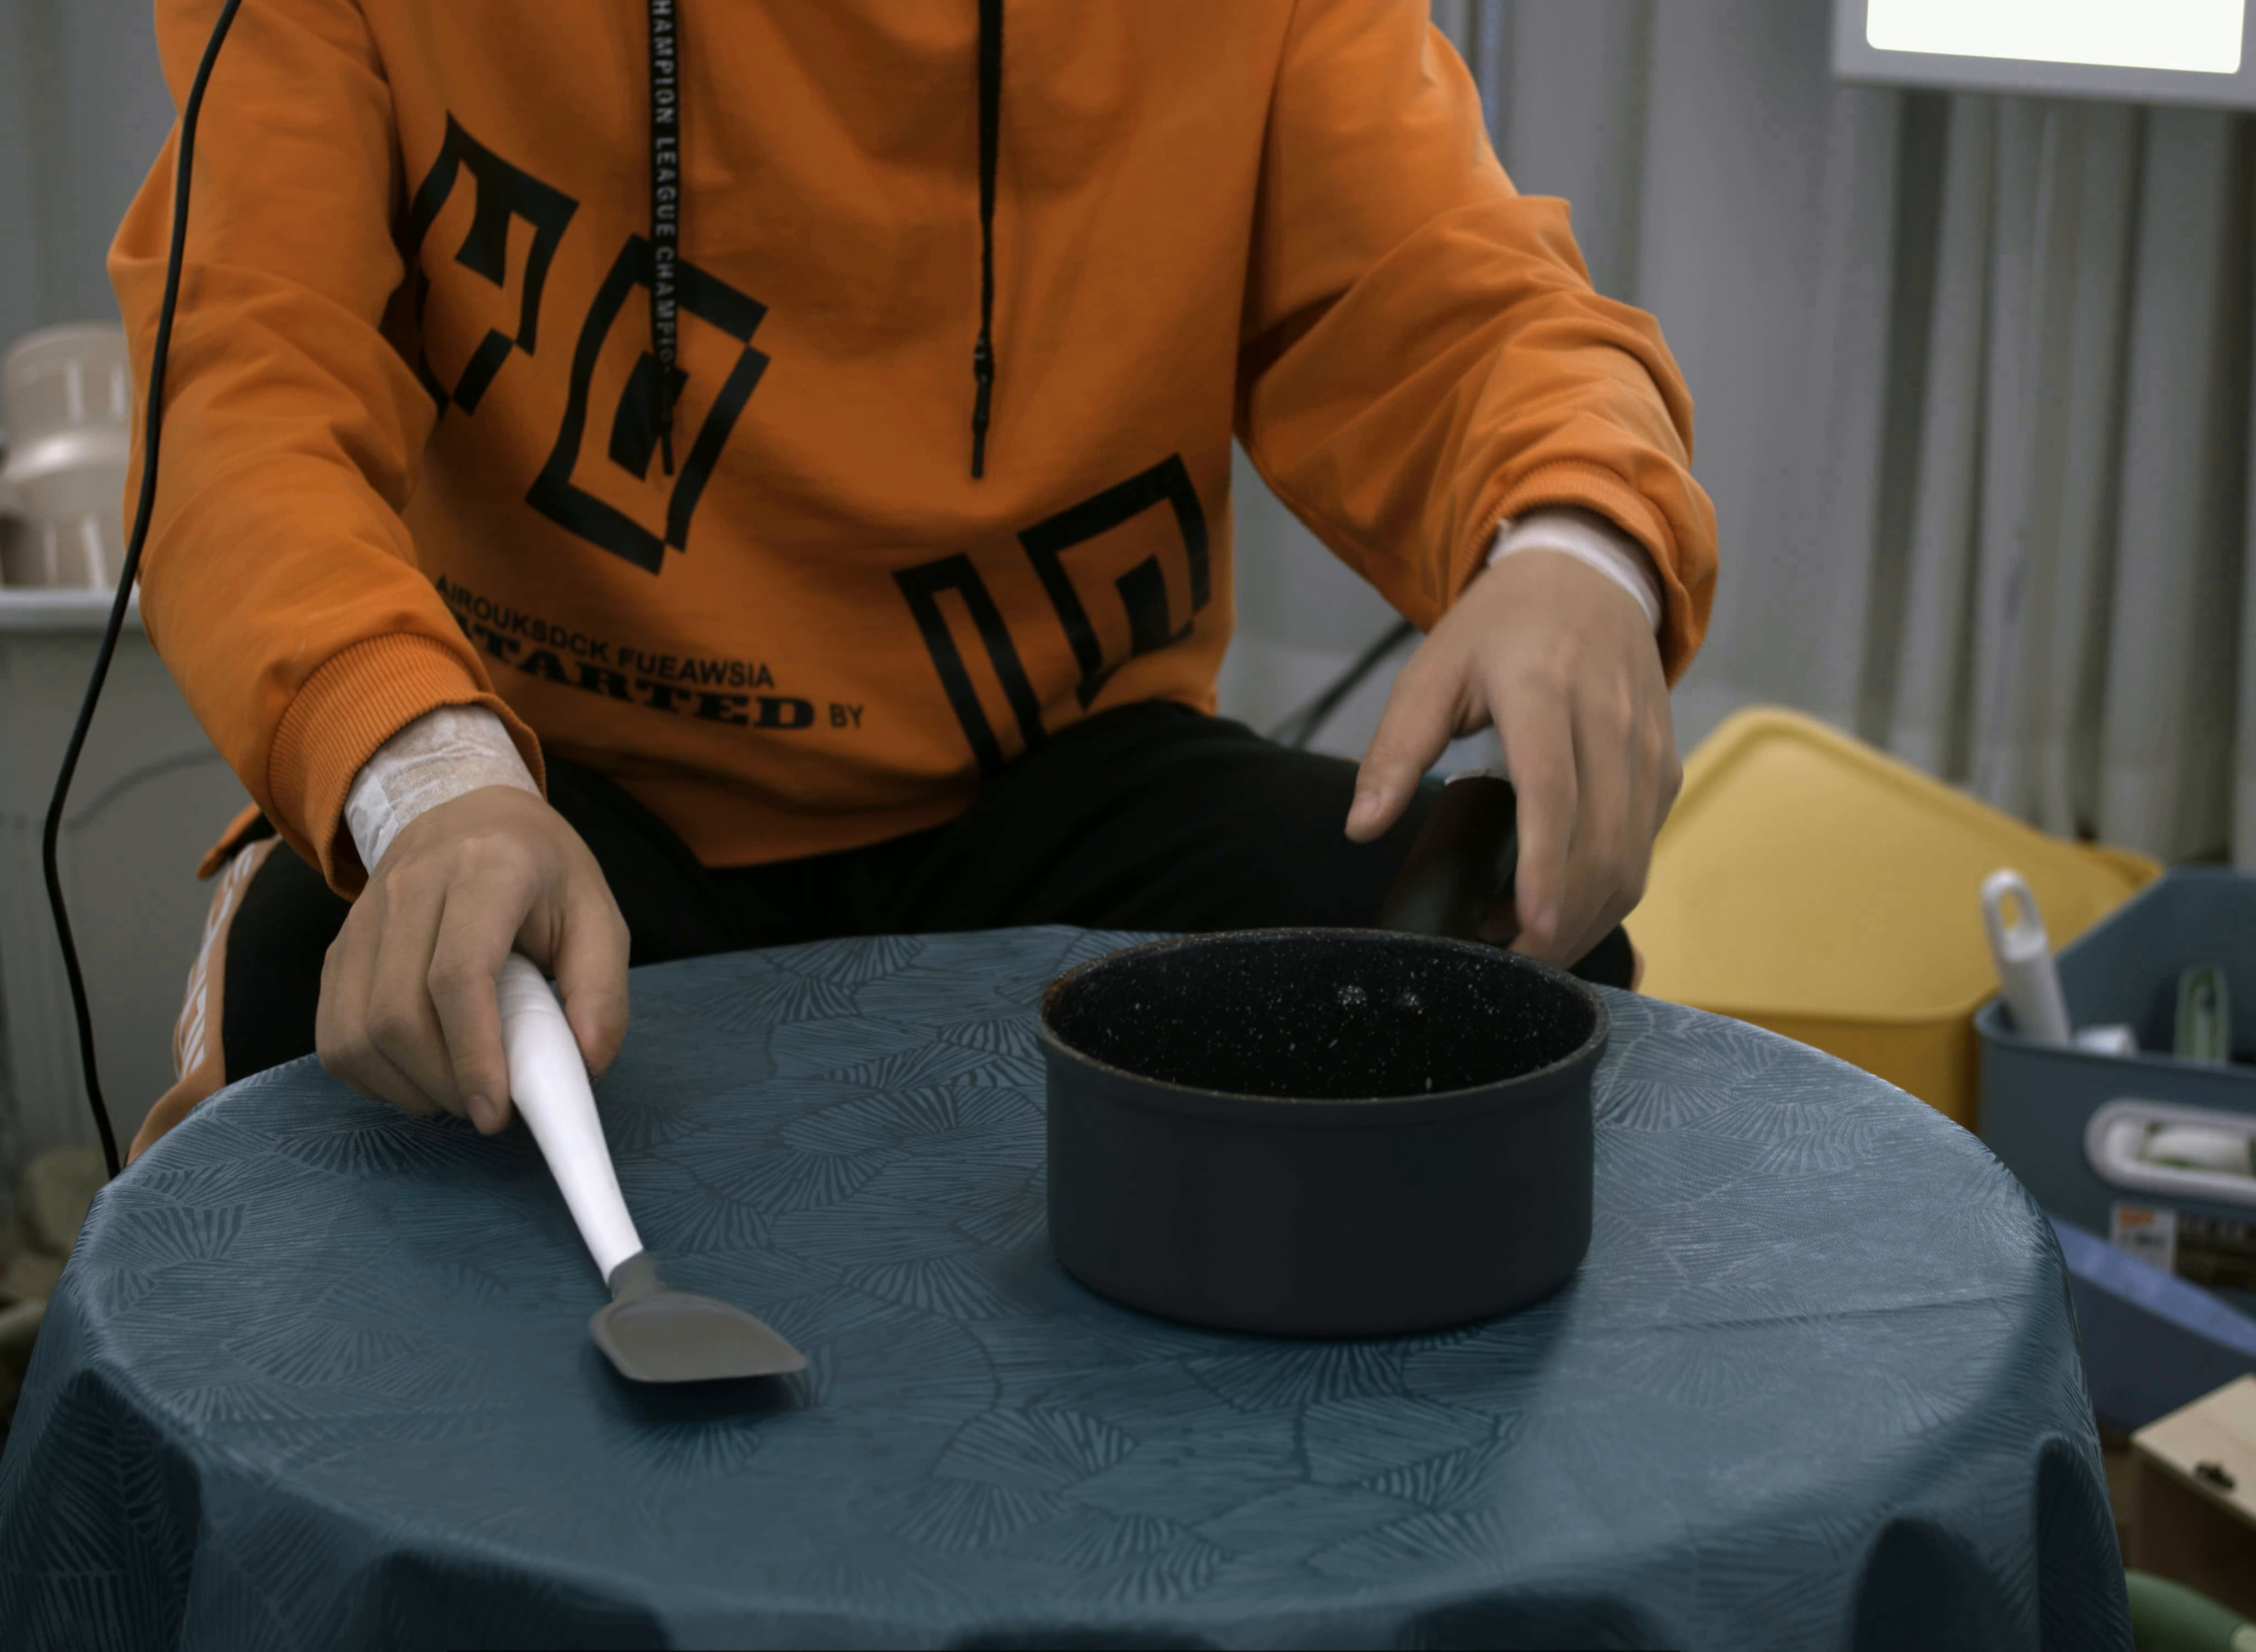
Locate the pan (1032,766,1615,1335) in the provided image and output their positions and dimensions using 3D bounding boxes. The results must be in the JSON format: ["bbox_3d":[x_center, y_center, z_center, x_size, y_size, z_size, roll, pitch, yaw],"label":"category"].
[{"bbox_3d":[0.082,0.065,1.635,0.170,0.087,0.328,6,18,17],"label":"pan"}]

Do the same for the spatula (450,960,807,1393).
[{"bbox_3d":[-0.156,0.108,1.557,0.059,0.032,0.284,2,21,-21],"label":"spatula"}]
